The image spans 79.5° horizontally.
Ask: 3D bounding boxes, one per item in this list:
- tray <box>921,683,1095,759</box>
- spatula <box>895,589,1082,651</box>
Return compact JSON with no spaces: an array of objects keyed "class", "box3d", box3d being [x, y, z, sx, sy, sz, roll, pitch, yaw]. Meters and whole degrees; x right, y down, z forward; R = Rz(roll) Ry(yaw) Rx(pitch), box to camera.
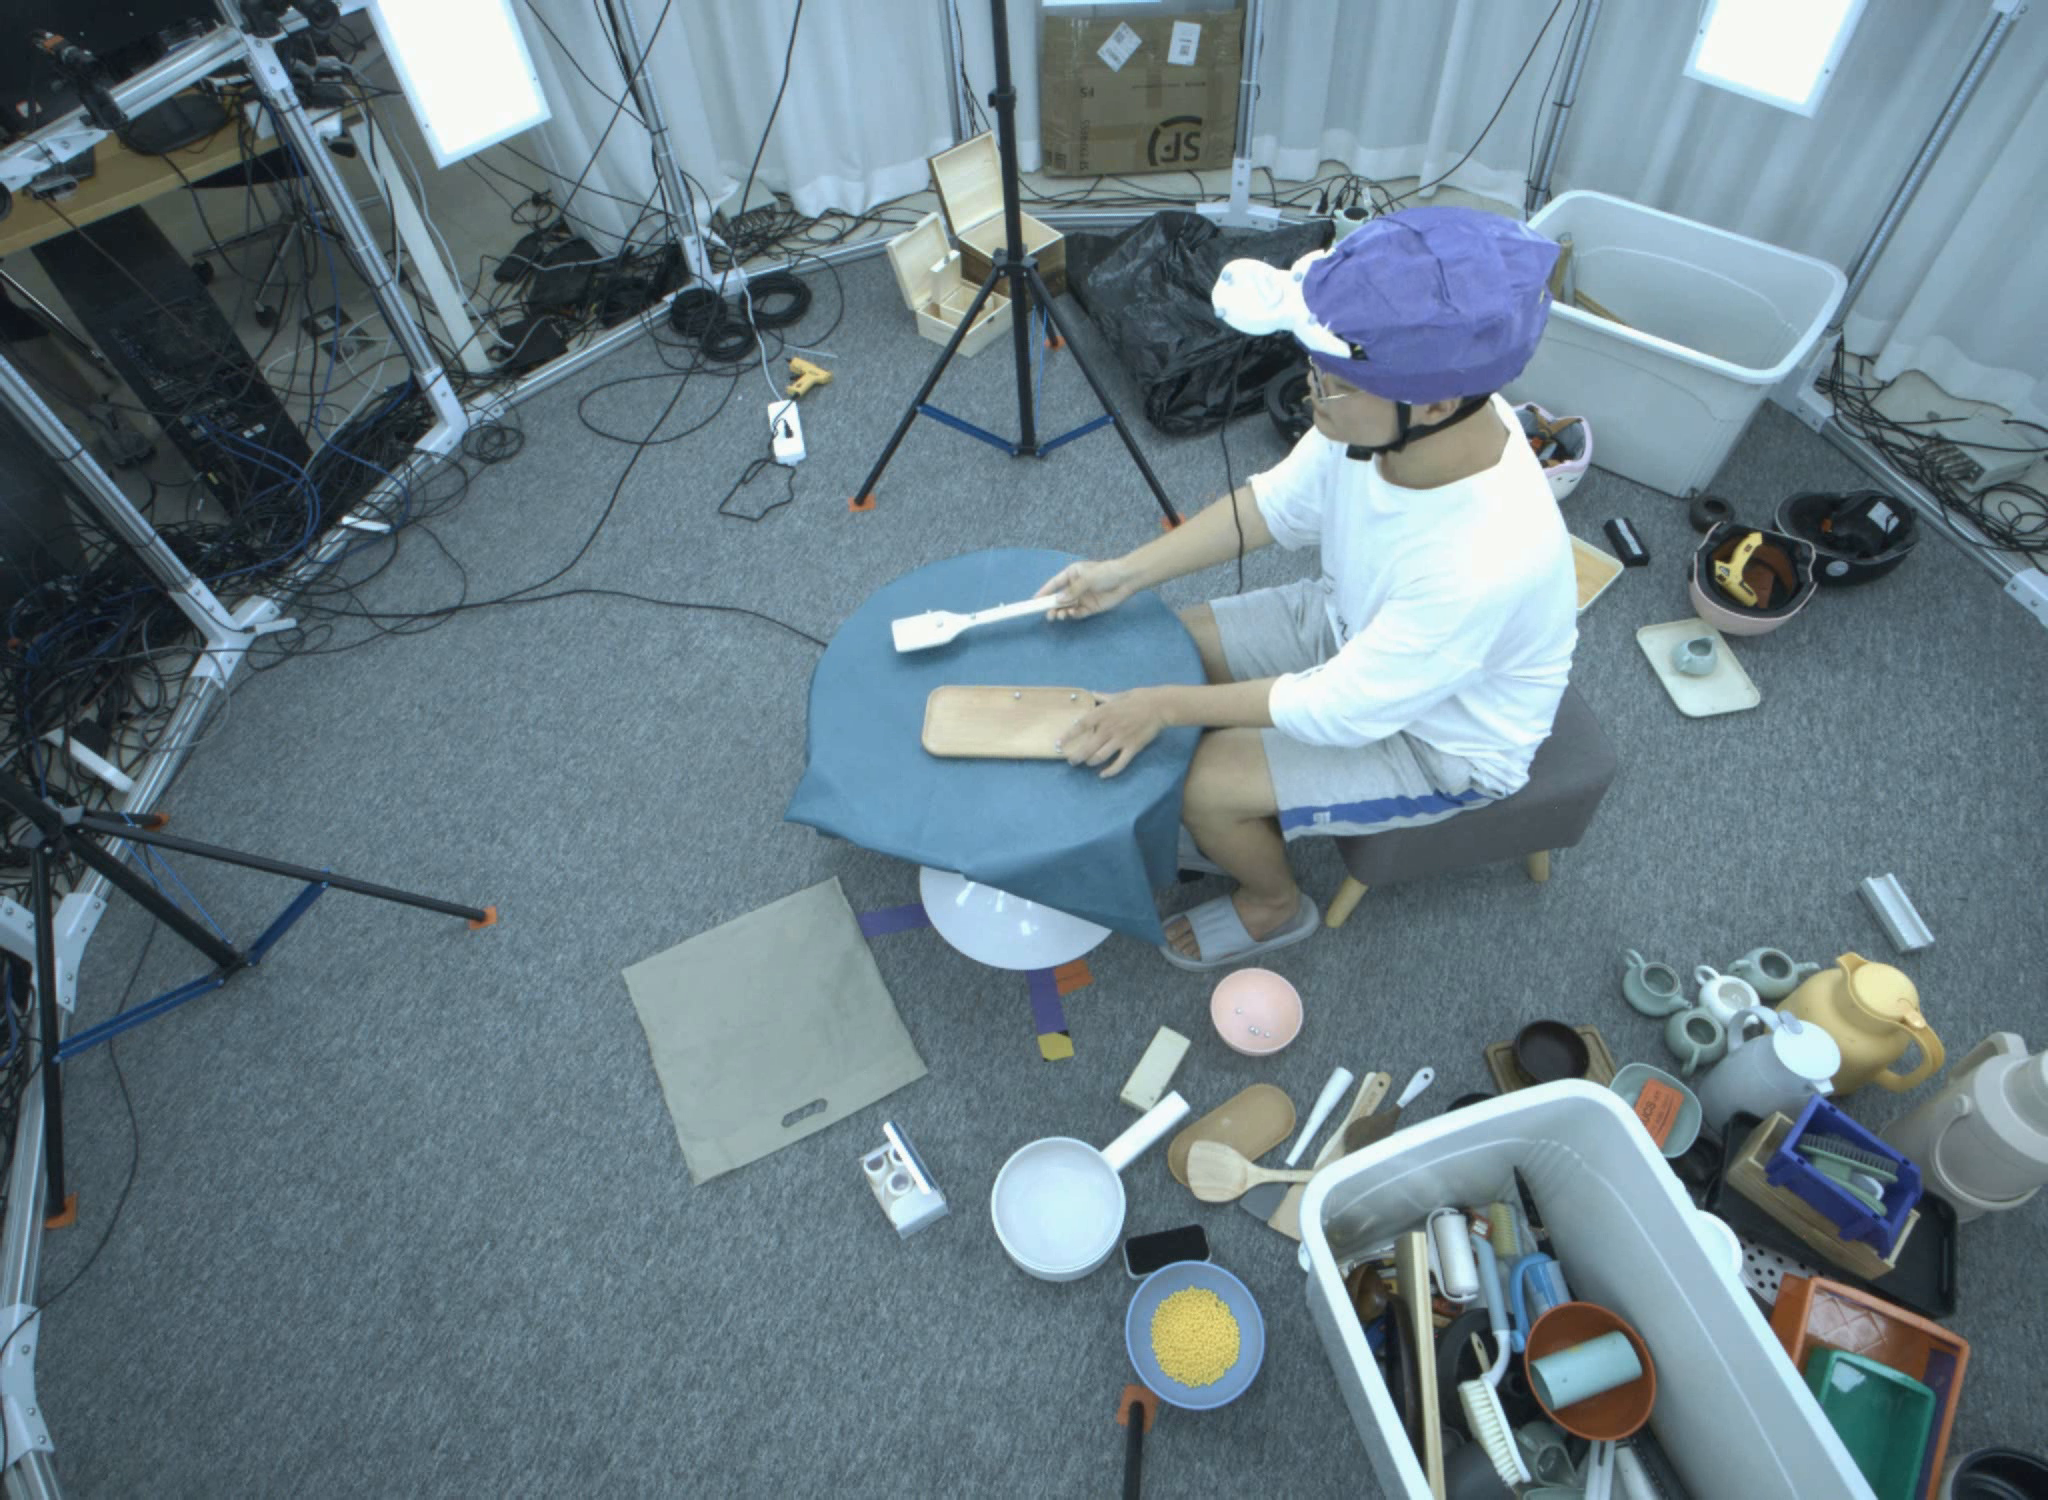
[{"class":"tray","box3d":[-0.022,-0.042,1.806,0.250,0.023,0.129,2,52,4]},{"class":"spatula","box3d":[-0.054,-0.209,1.892,0.294,0.011,0.071,-13,51,-3]}]
